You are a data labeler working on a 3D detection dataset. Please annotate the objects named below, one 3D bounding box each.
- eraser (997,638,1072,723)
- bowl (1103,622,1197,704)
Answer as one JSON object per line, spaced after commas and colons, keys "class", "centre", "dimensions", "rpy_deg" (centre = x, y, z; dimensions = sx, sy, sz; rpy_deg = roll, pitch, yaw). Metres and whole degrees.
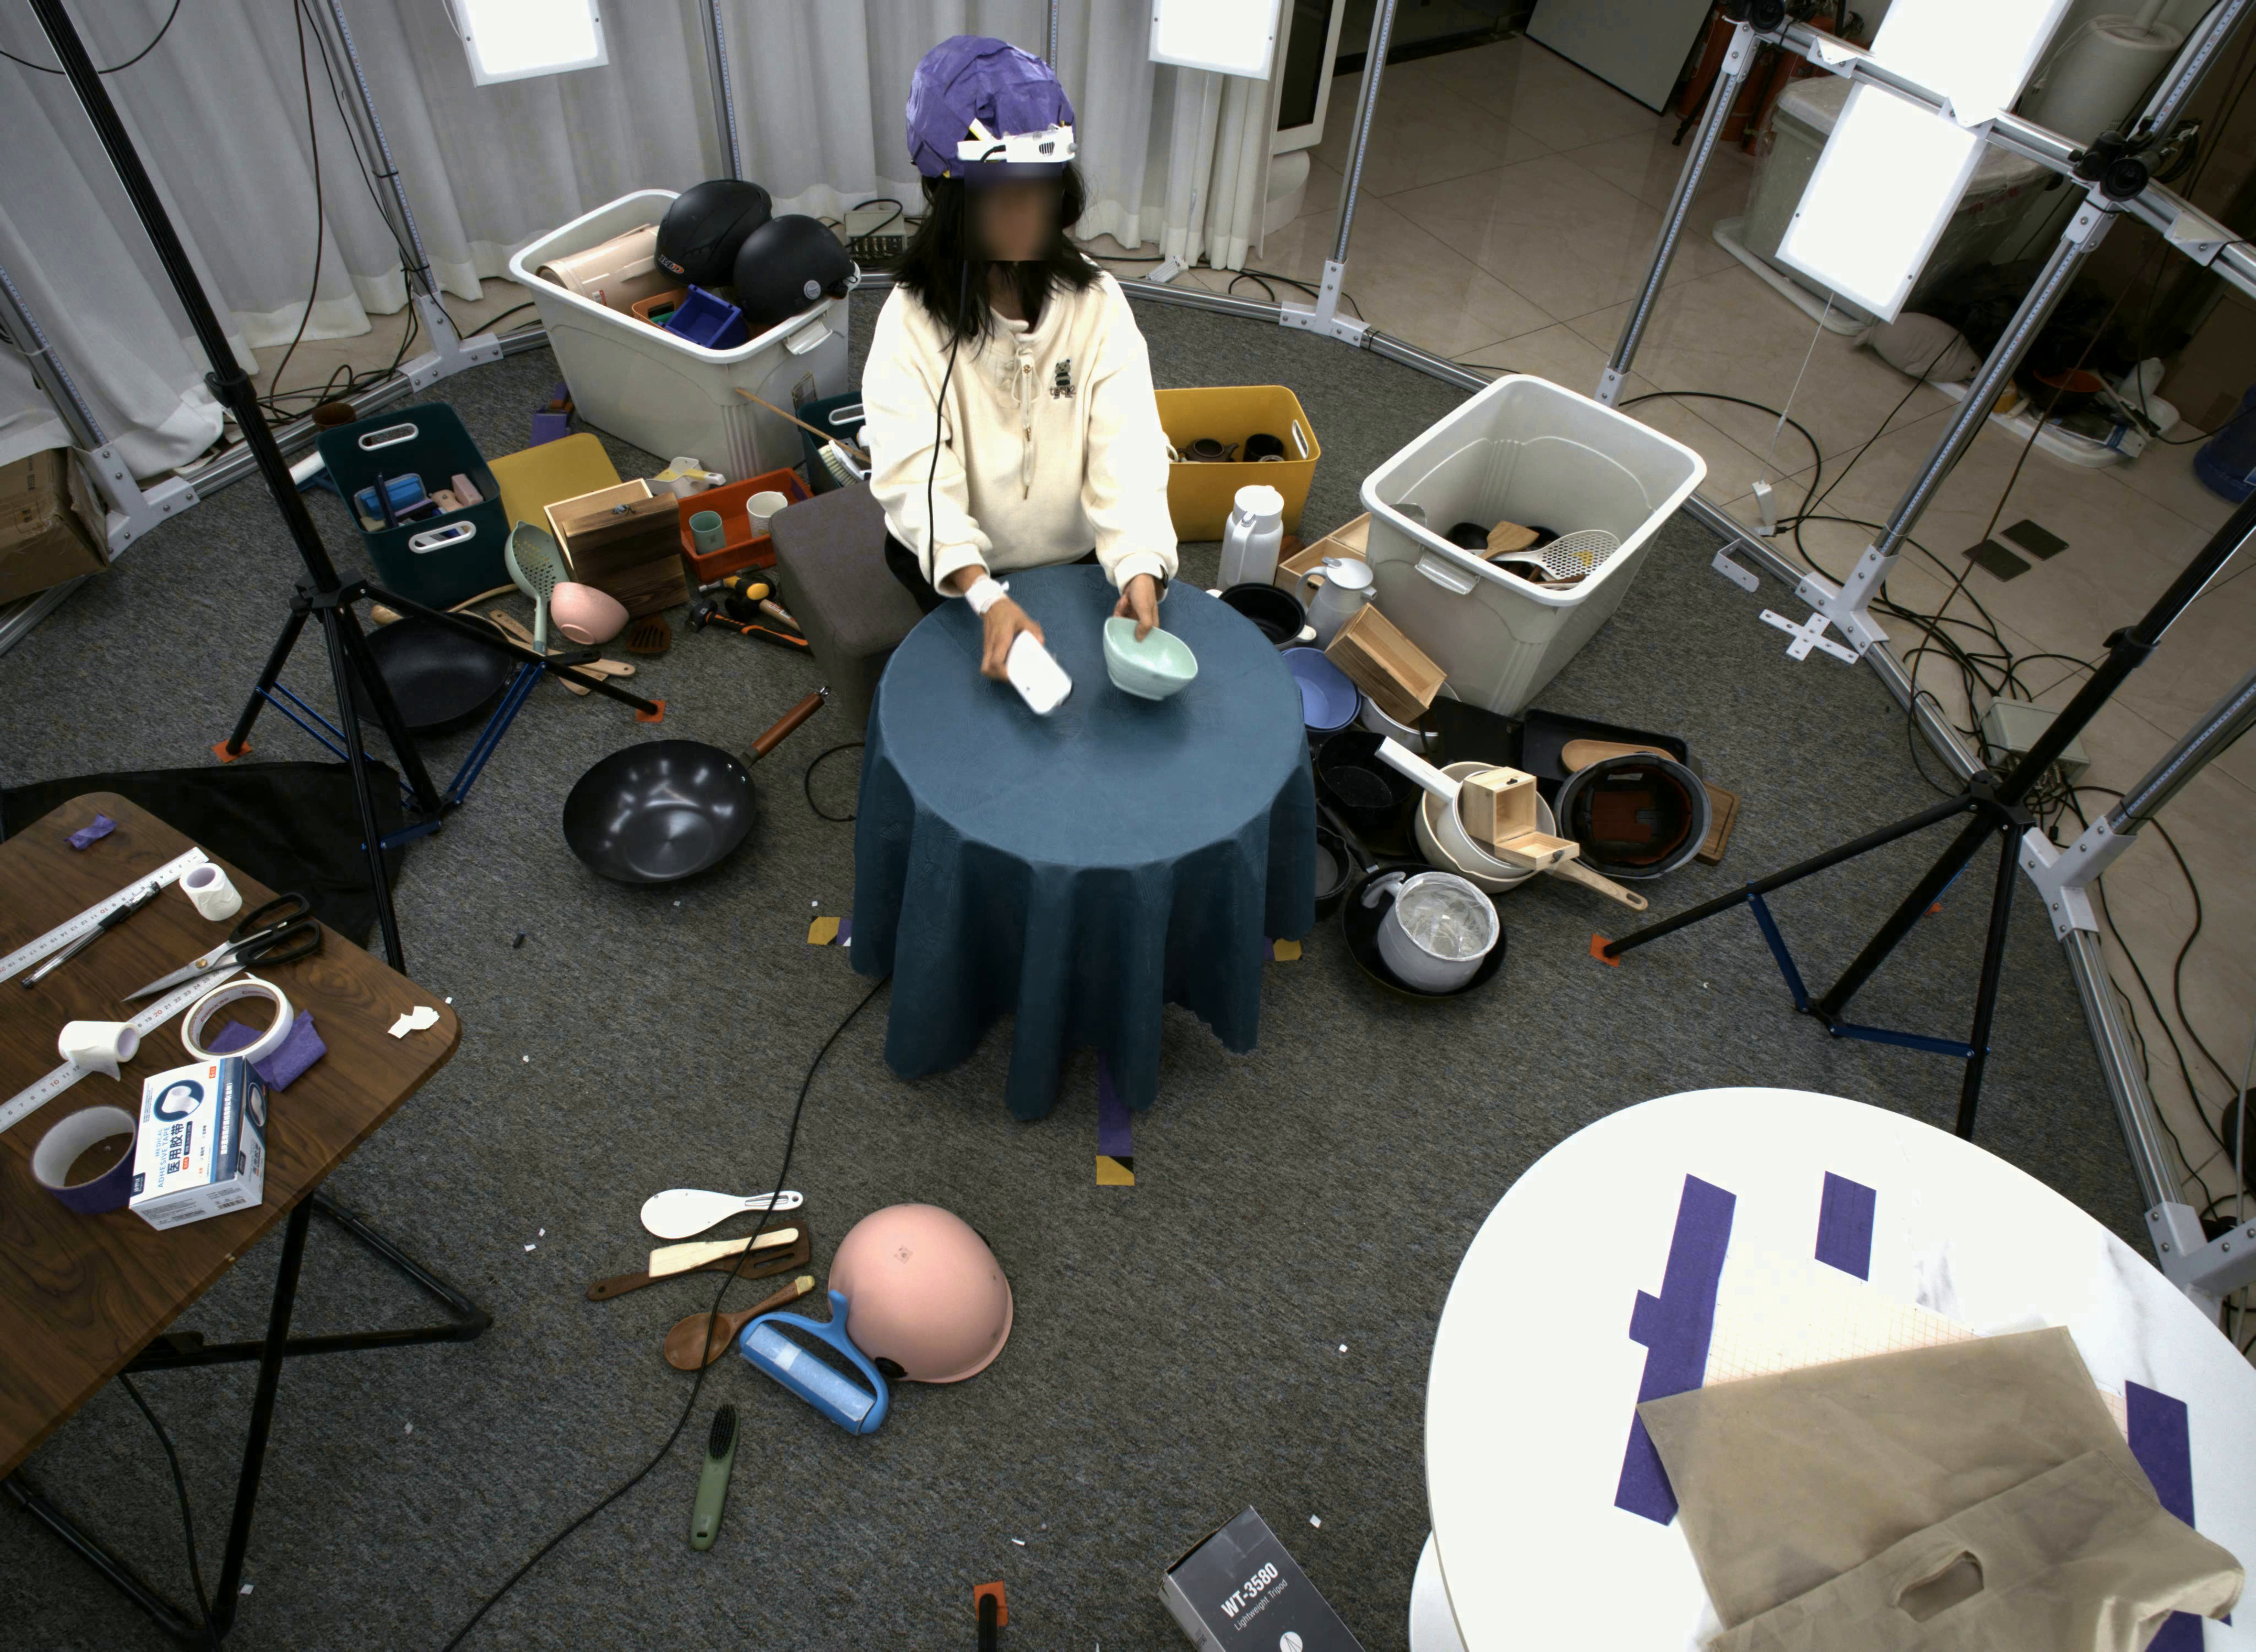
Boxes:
{"class": "eraser", "centre": [-0.129, -0.203, 1.776], "dimensions": [0.063, 0.034, 0.134], "rpy_deg": [-42, 57, 10]}
{"class": "bowl", "centre": [0.021, -0.221, 1.796], "dimensions": [0.150, 0.057, 0.155], "rpy_deg": [18, 31, -12]}
